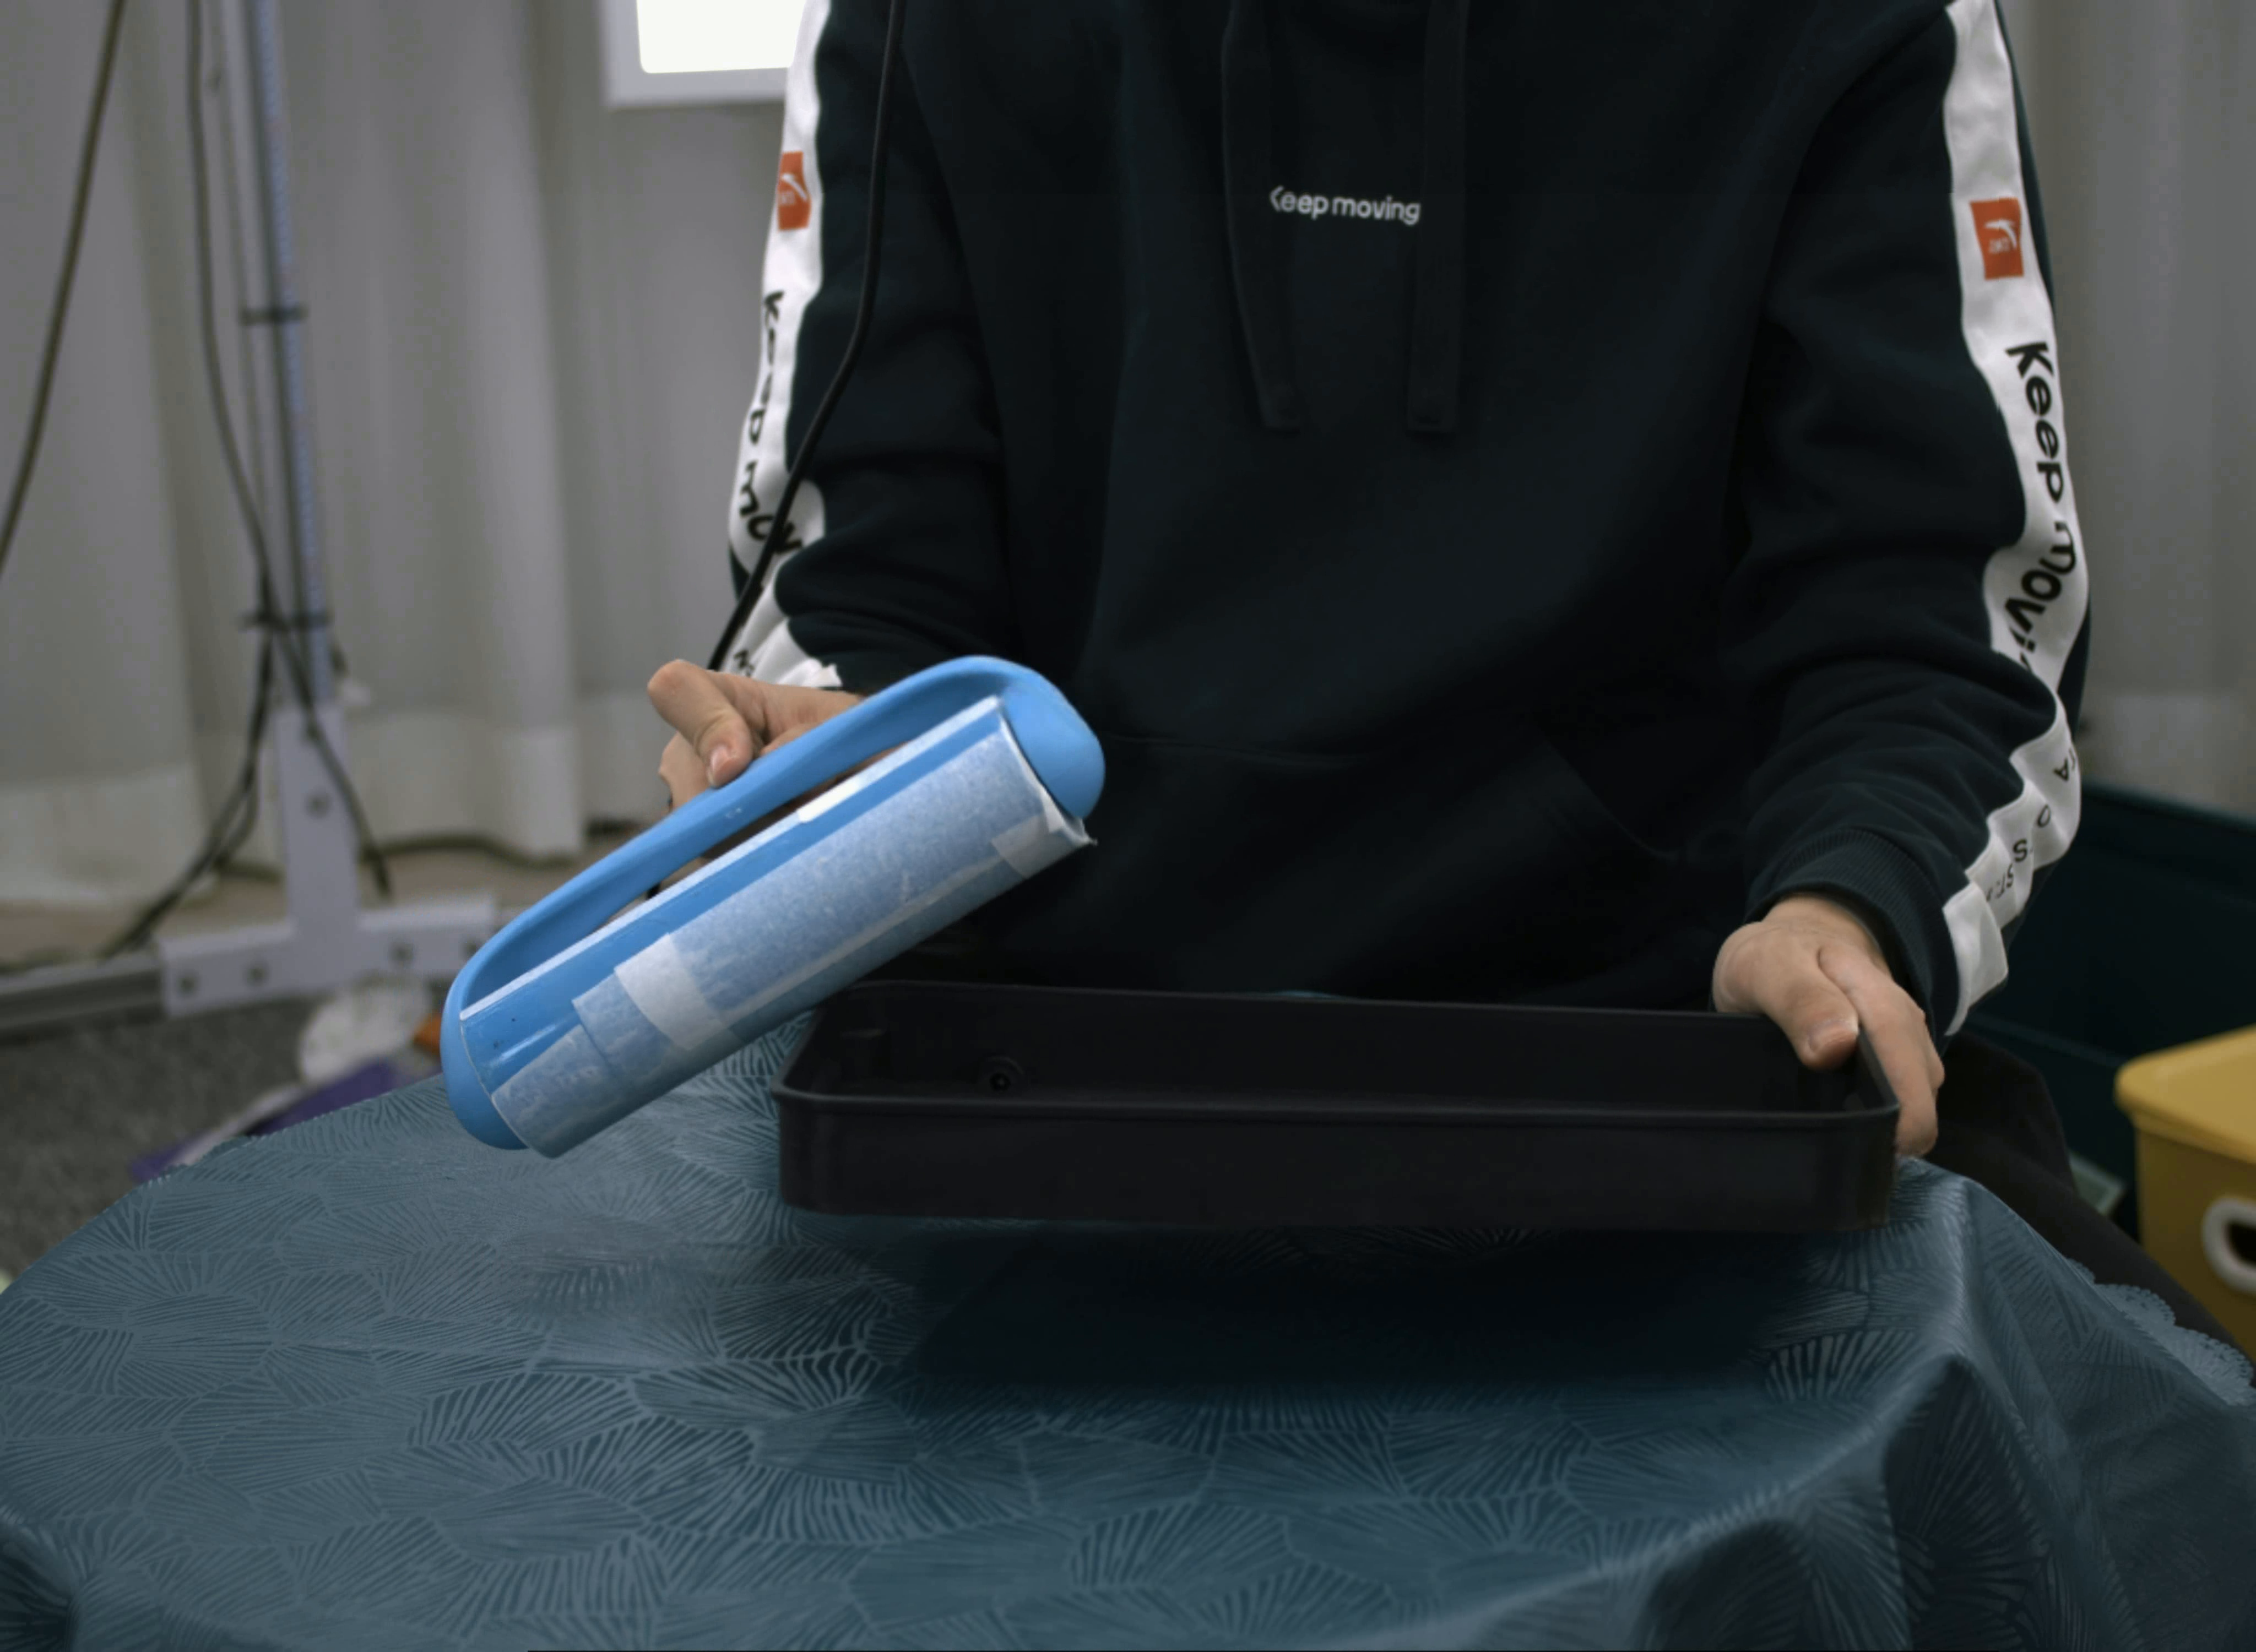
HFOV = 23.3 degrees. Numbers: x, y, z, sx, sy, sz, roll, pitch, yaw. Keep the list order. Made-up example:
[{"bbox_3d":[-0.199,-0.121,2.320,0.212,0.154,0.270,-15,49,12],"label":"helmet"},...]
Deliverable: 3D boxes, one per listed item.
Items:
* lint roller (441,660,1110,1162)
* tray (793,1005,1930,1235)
[{"bbox_3d":[-0.110,0.013,1.709,0.228,0.067,0.181,-32,16,6],"label":"lint roller"},{"bbox_3d":[0.067,0.084,1.594,0.317,0.037,0.185,0,7,2],"label":"tray"}]
